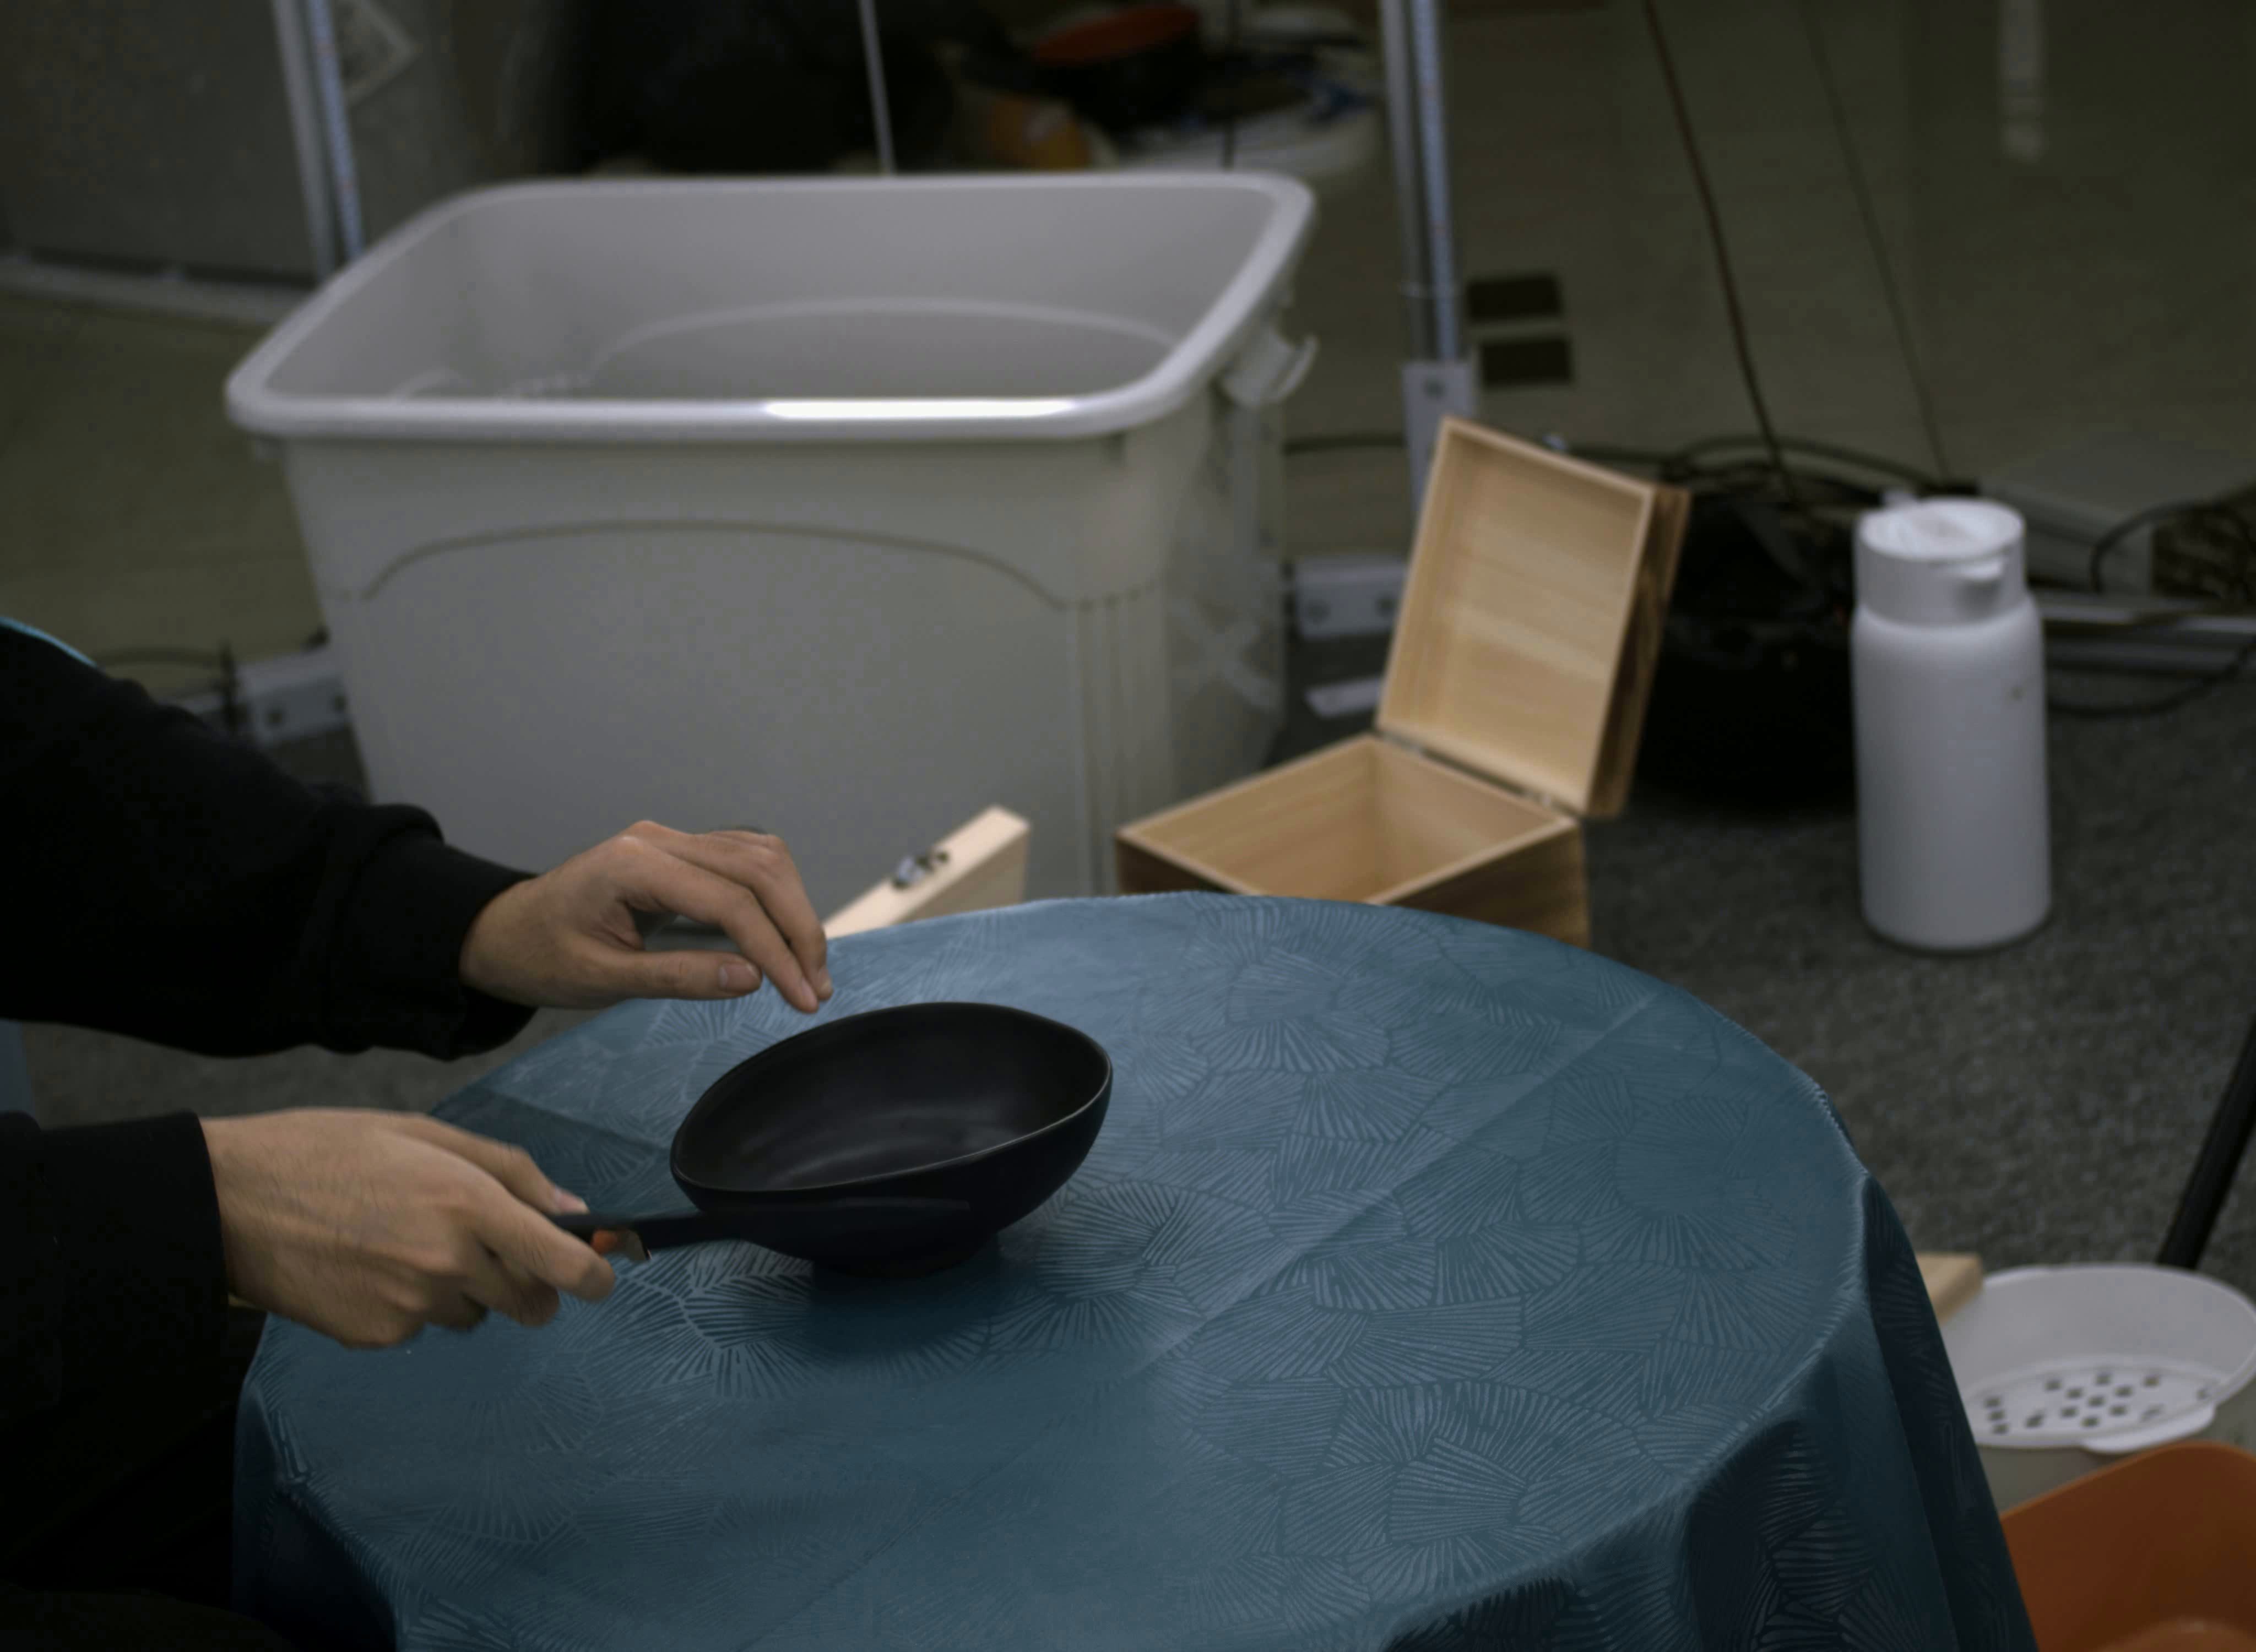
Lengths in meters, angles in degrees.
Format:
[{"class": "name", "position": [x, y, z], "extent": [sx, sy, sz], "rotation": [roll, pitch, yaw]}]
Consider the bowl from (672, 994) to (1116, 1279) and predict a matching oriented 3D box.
[{"class": "bowl", "position": [-0.084, 0.126, 2.119], "extent": [0.170, 0.068, 0.135], "rotation": [-14, 26, -11]}]

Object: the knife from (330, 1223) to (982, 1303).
[{"class": "knife", "position": [-0.163, 0.147, 1.960], "extent": [0.225, 0.026, 0.017], "rotation": [-5, 64, 0]}]
